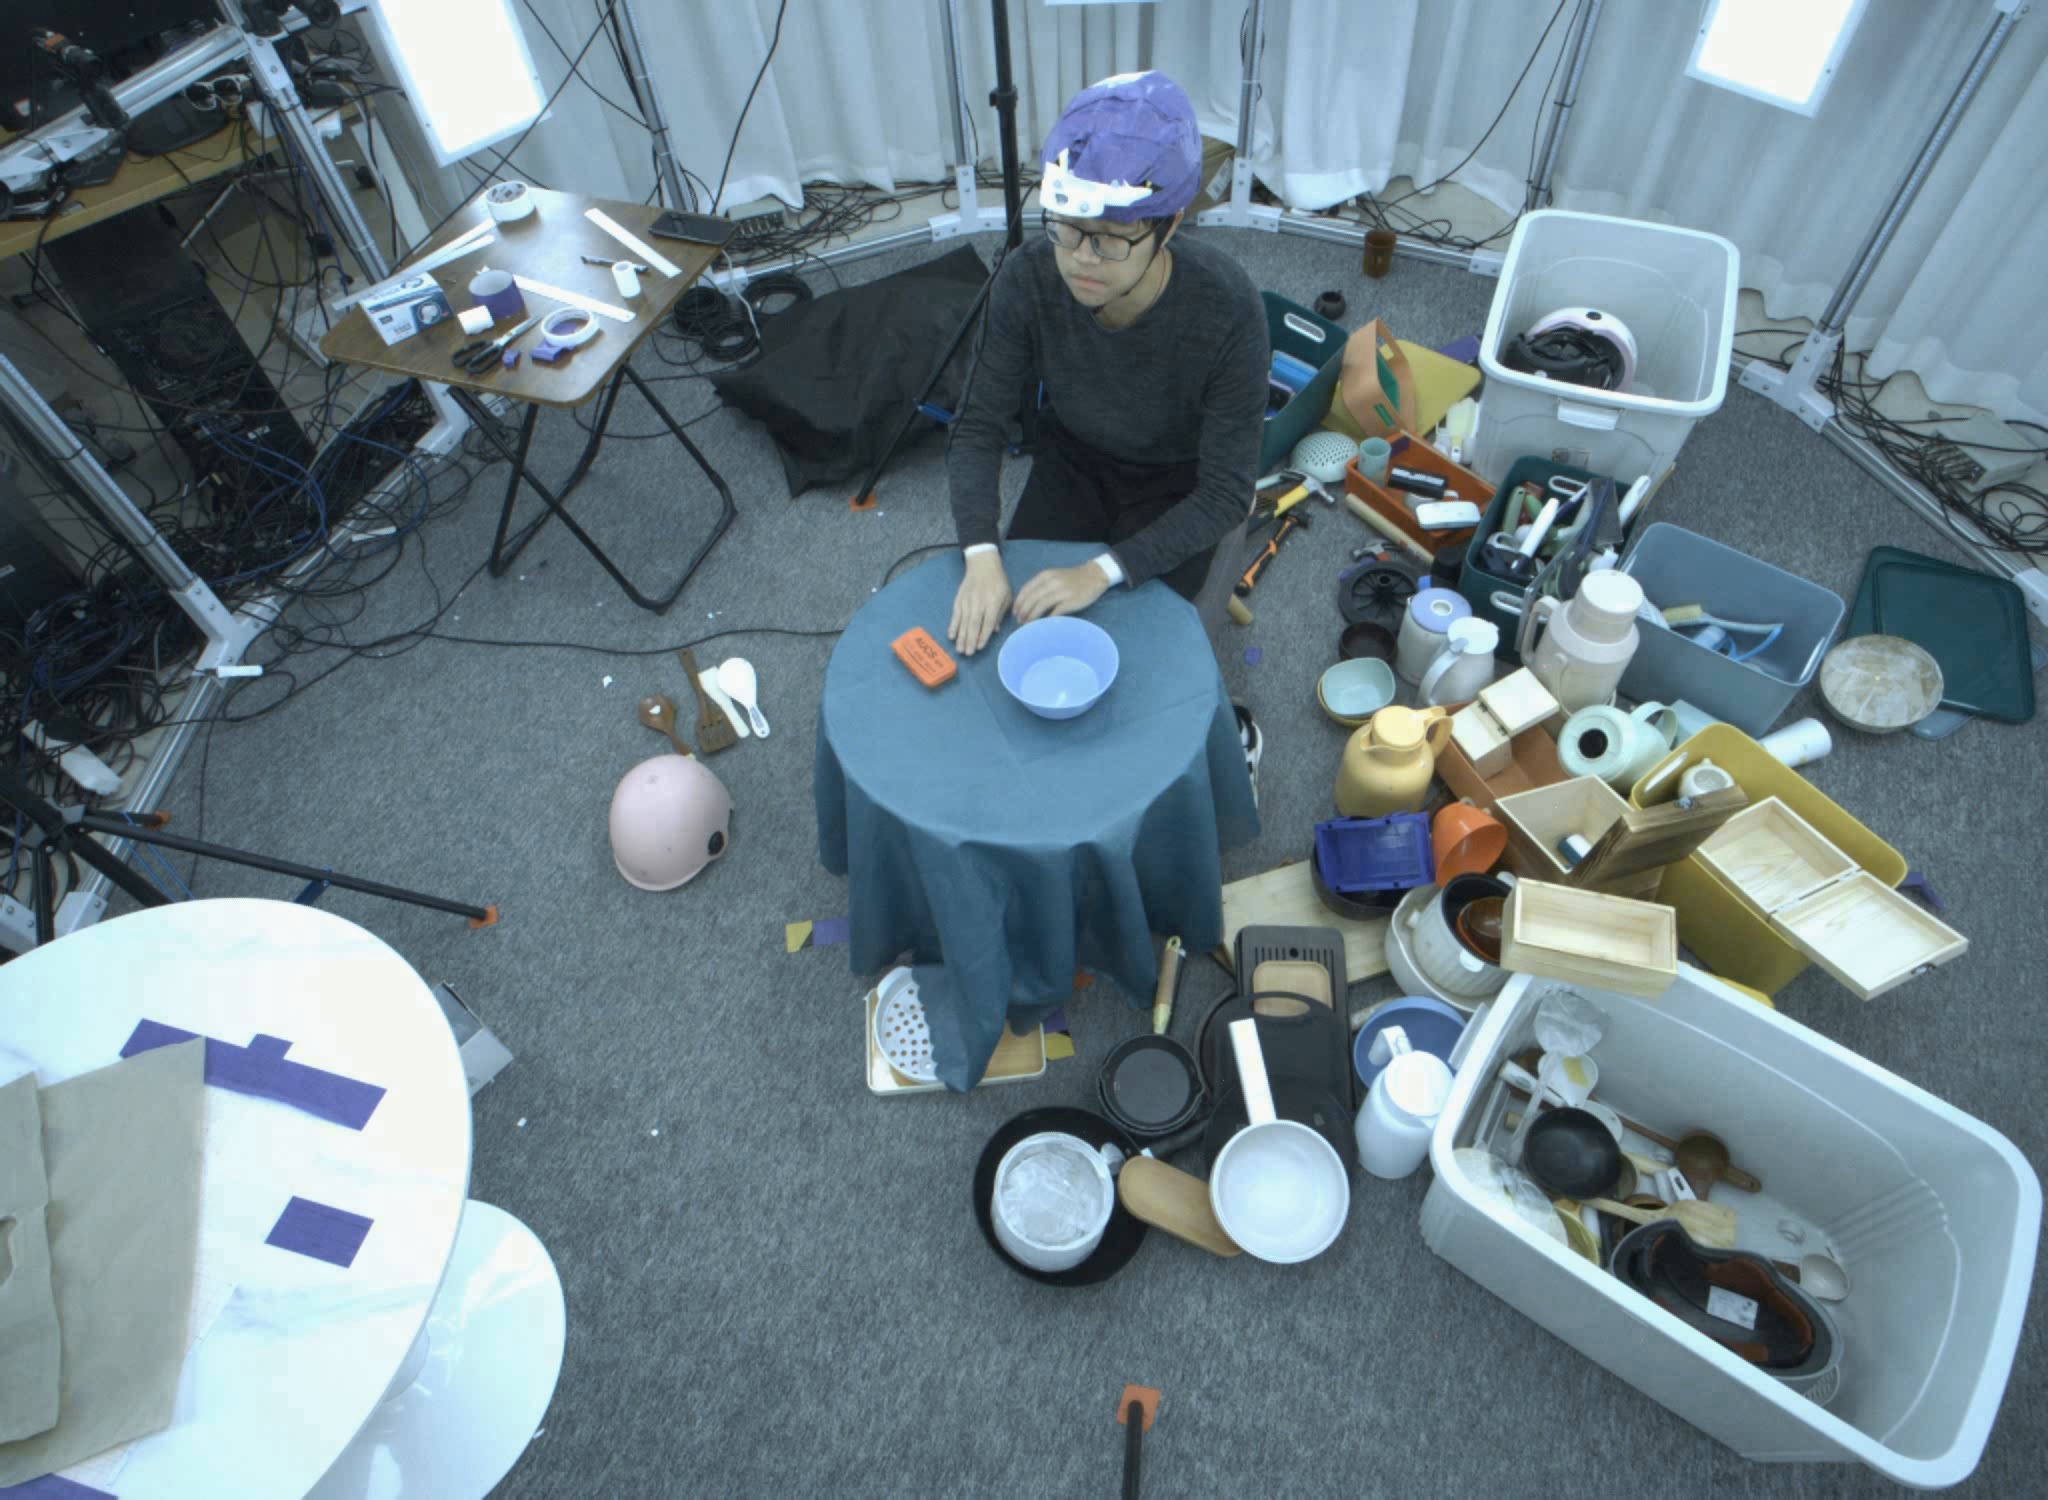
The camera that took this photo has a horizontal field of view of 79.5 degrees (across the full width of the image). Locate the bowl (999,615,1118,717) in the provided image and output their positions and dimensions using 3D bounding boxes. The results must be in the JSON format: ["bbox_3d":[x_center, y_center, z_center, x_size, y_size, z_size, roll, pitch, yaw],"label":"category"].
[{"bbox_3d":[0.052,-0.113,1.824,0.176,0.071,0.174,-1,55,2],"label":"bowl"}]

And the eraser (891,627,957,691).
[{"bbox_3d":[-0.154,-0.140,1.877,0.059,0.023,0.106,-33,60,-18],"label":"eraser"}]
